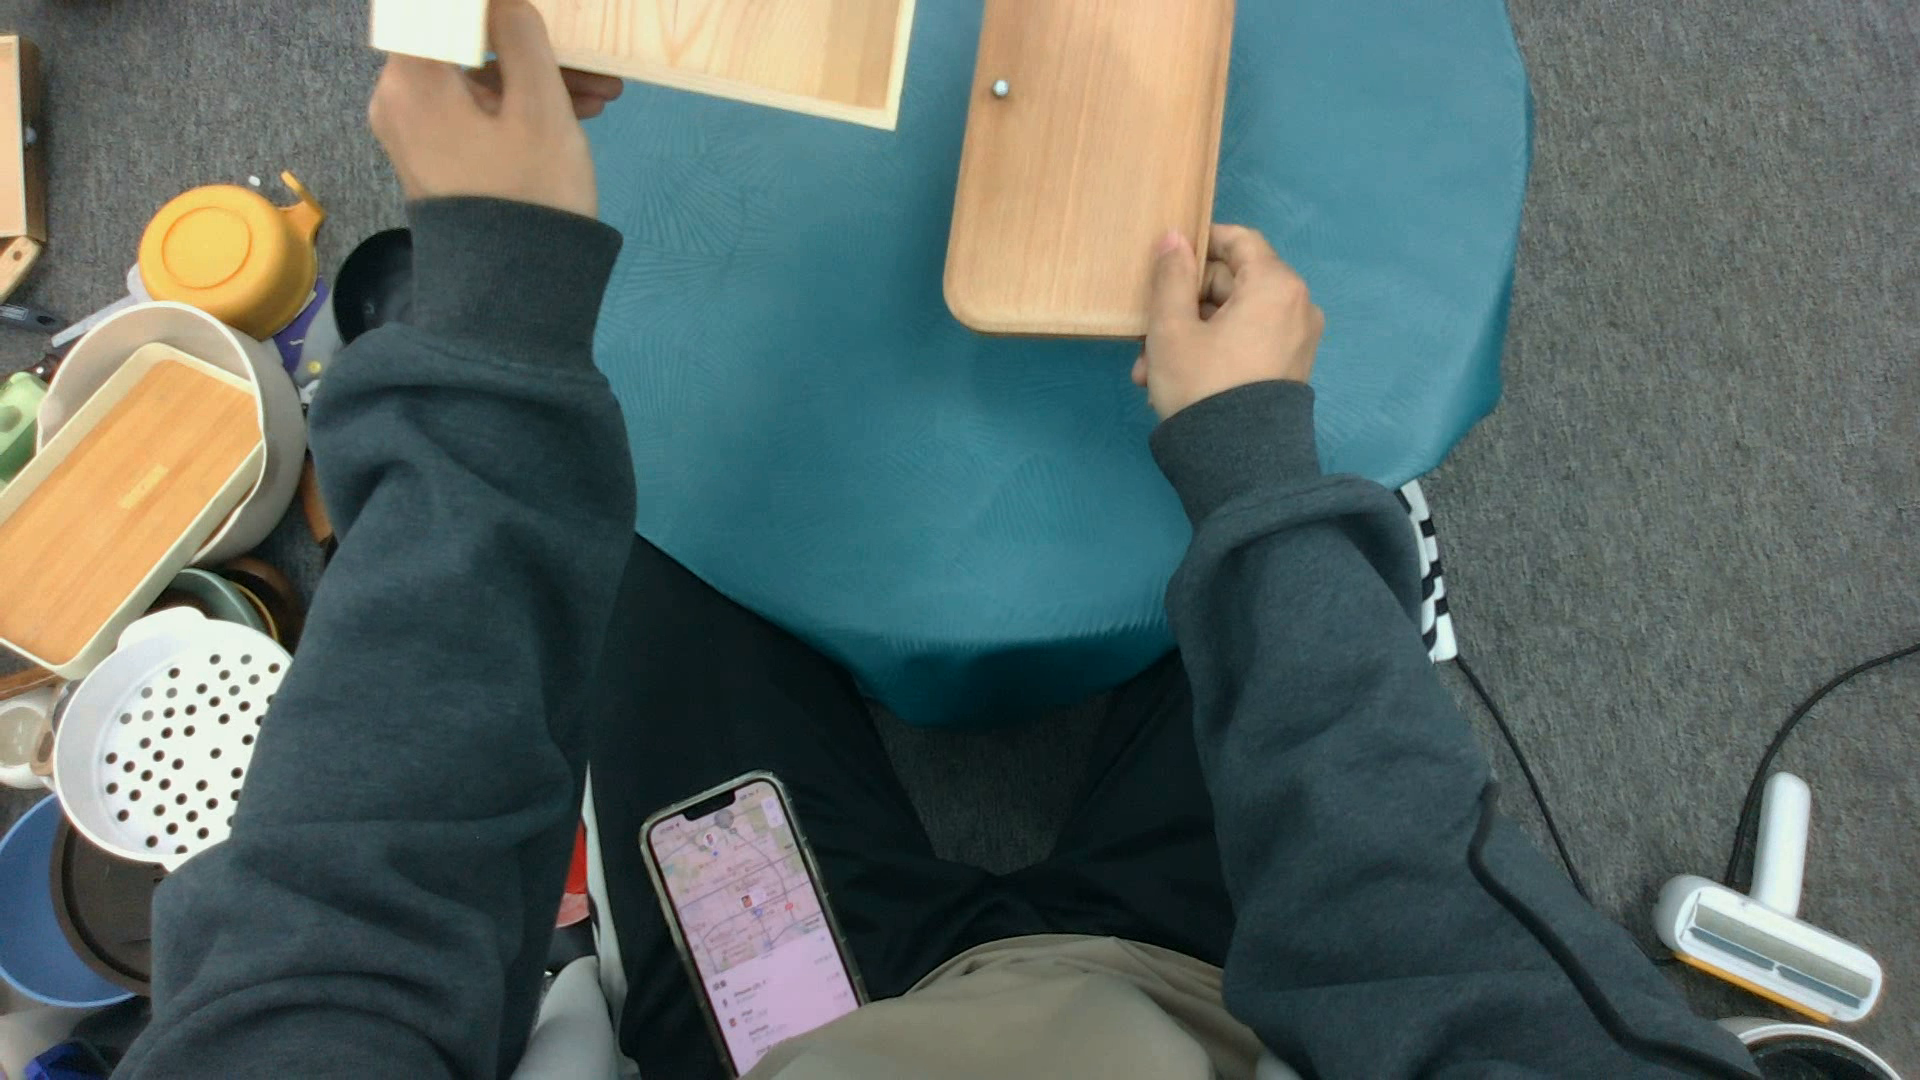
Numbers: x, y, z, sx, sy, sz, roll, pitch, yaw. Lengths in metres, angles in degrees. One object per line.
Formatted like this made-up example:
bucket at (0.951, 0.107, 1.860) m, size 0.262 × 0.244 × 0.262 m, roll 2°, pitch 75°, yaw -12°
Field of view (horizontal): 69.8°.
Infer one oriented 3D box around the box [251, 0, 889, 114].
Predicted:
box at (-0.103, -0.252, 0.476) m, size 0.266 × 0.253 × 0.181 m, roll 0°, pitch 113°, yaw -32°

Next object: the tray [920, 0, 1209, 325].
tray at (0.056, -0.222, 0.686) m, size 0.130 × 0.023 × 0.251 m, roll 3°, pitch 74°, yaw 17°
